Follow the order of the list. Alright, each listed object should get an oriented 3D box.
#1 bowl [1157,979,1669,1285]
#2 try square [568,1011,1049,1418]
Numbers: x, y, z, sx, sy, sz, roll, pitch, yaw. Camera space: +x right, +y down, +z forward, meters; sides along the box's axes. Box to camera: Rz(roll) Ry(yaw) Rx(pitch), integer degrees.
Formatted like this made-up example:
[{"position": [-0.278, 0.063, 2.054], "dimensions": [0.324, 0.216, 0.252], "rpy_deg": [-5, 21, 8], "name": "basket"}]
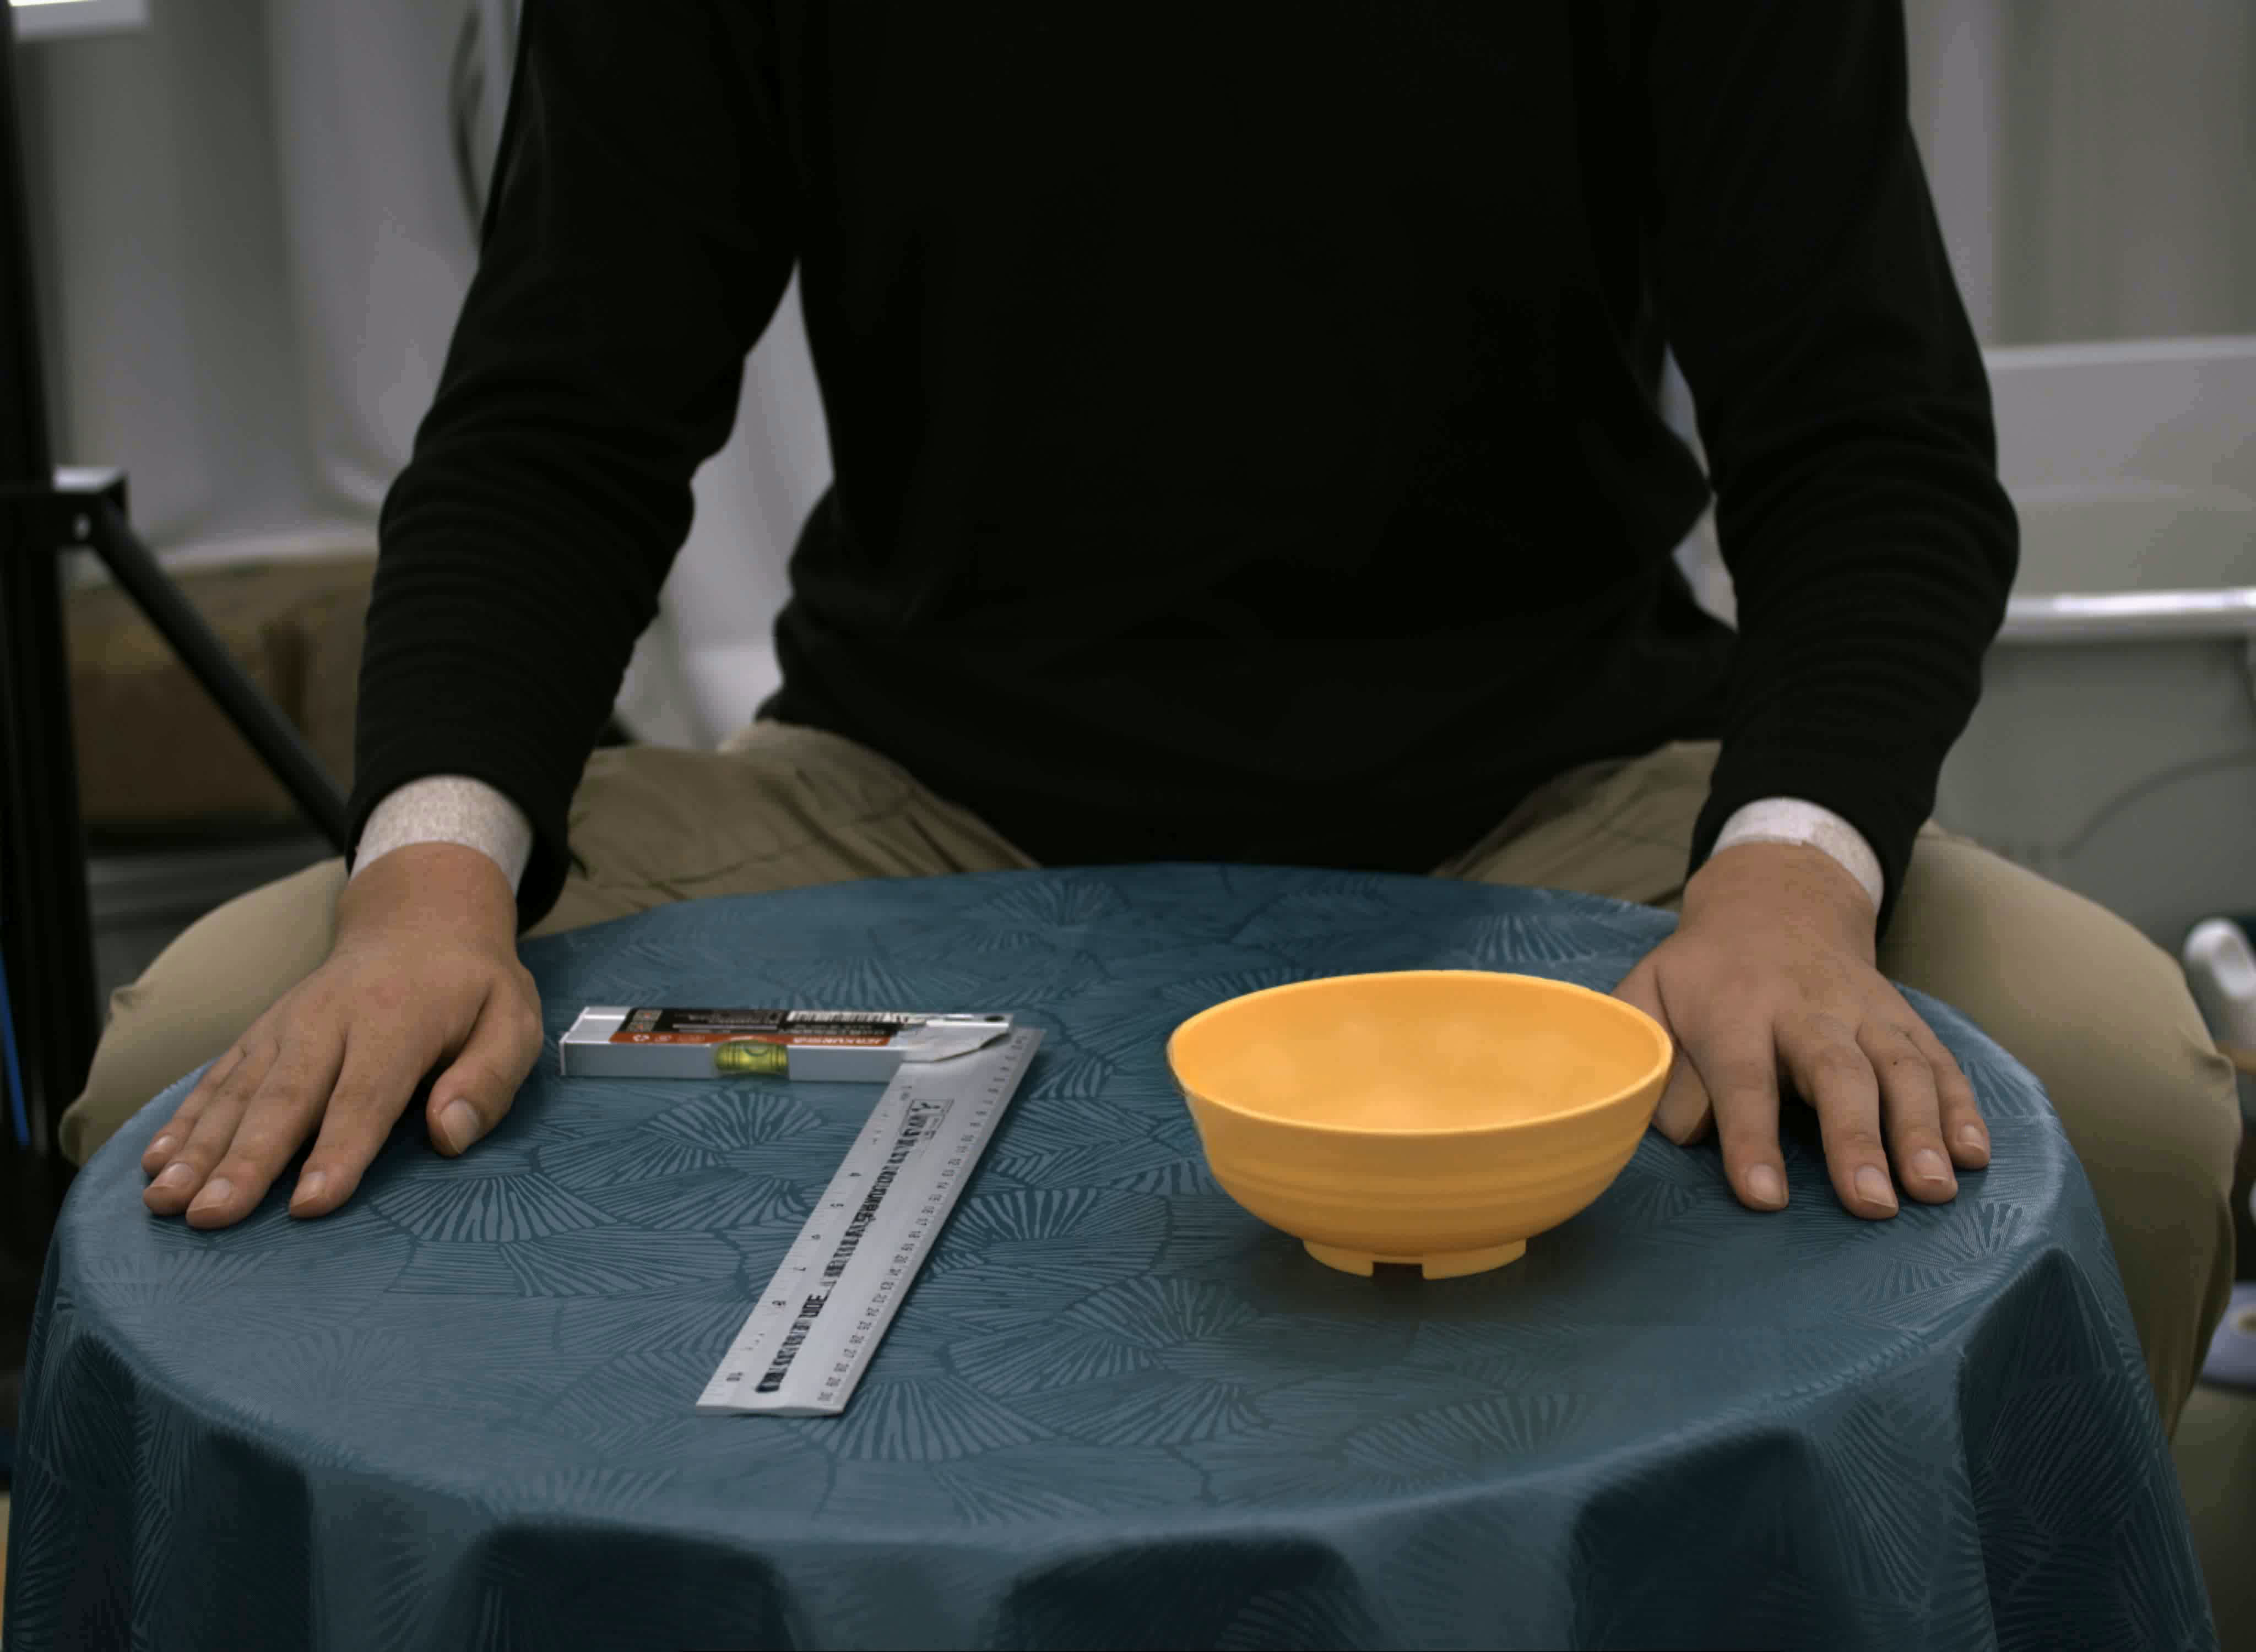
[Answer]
[{"position": [0.080, 0.092, 1.500], "dimensions": [0.144, 0.060, 0.146], "rpy_deg": [0, 14, -1], "name": "bowl"}, {"position": [-0.122, 0.112, 1.561], "dimensions": [0.153, 0.016, 0.312], "rpy_deg": [-3, 16, 11], "name": "try square"}]
